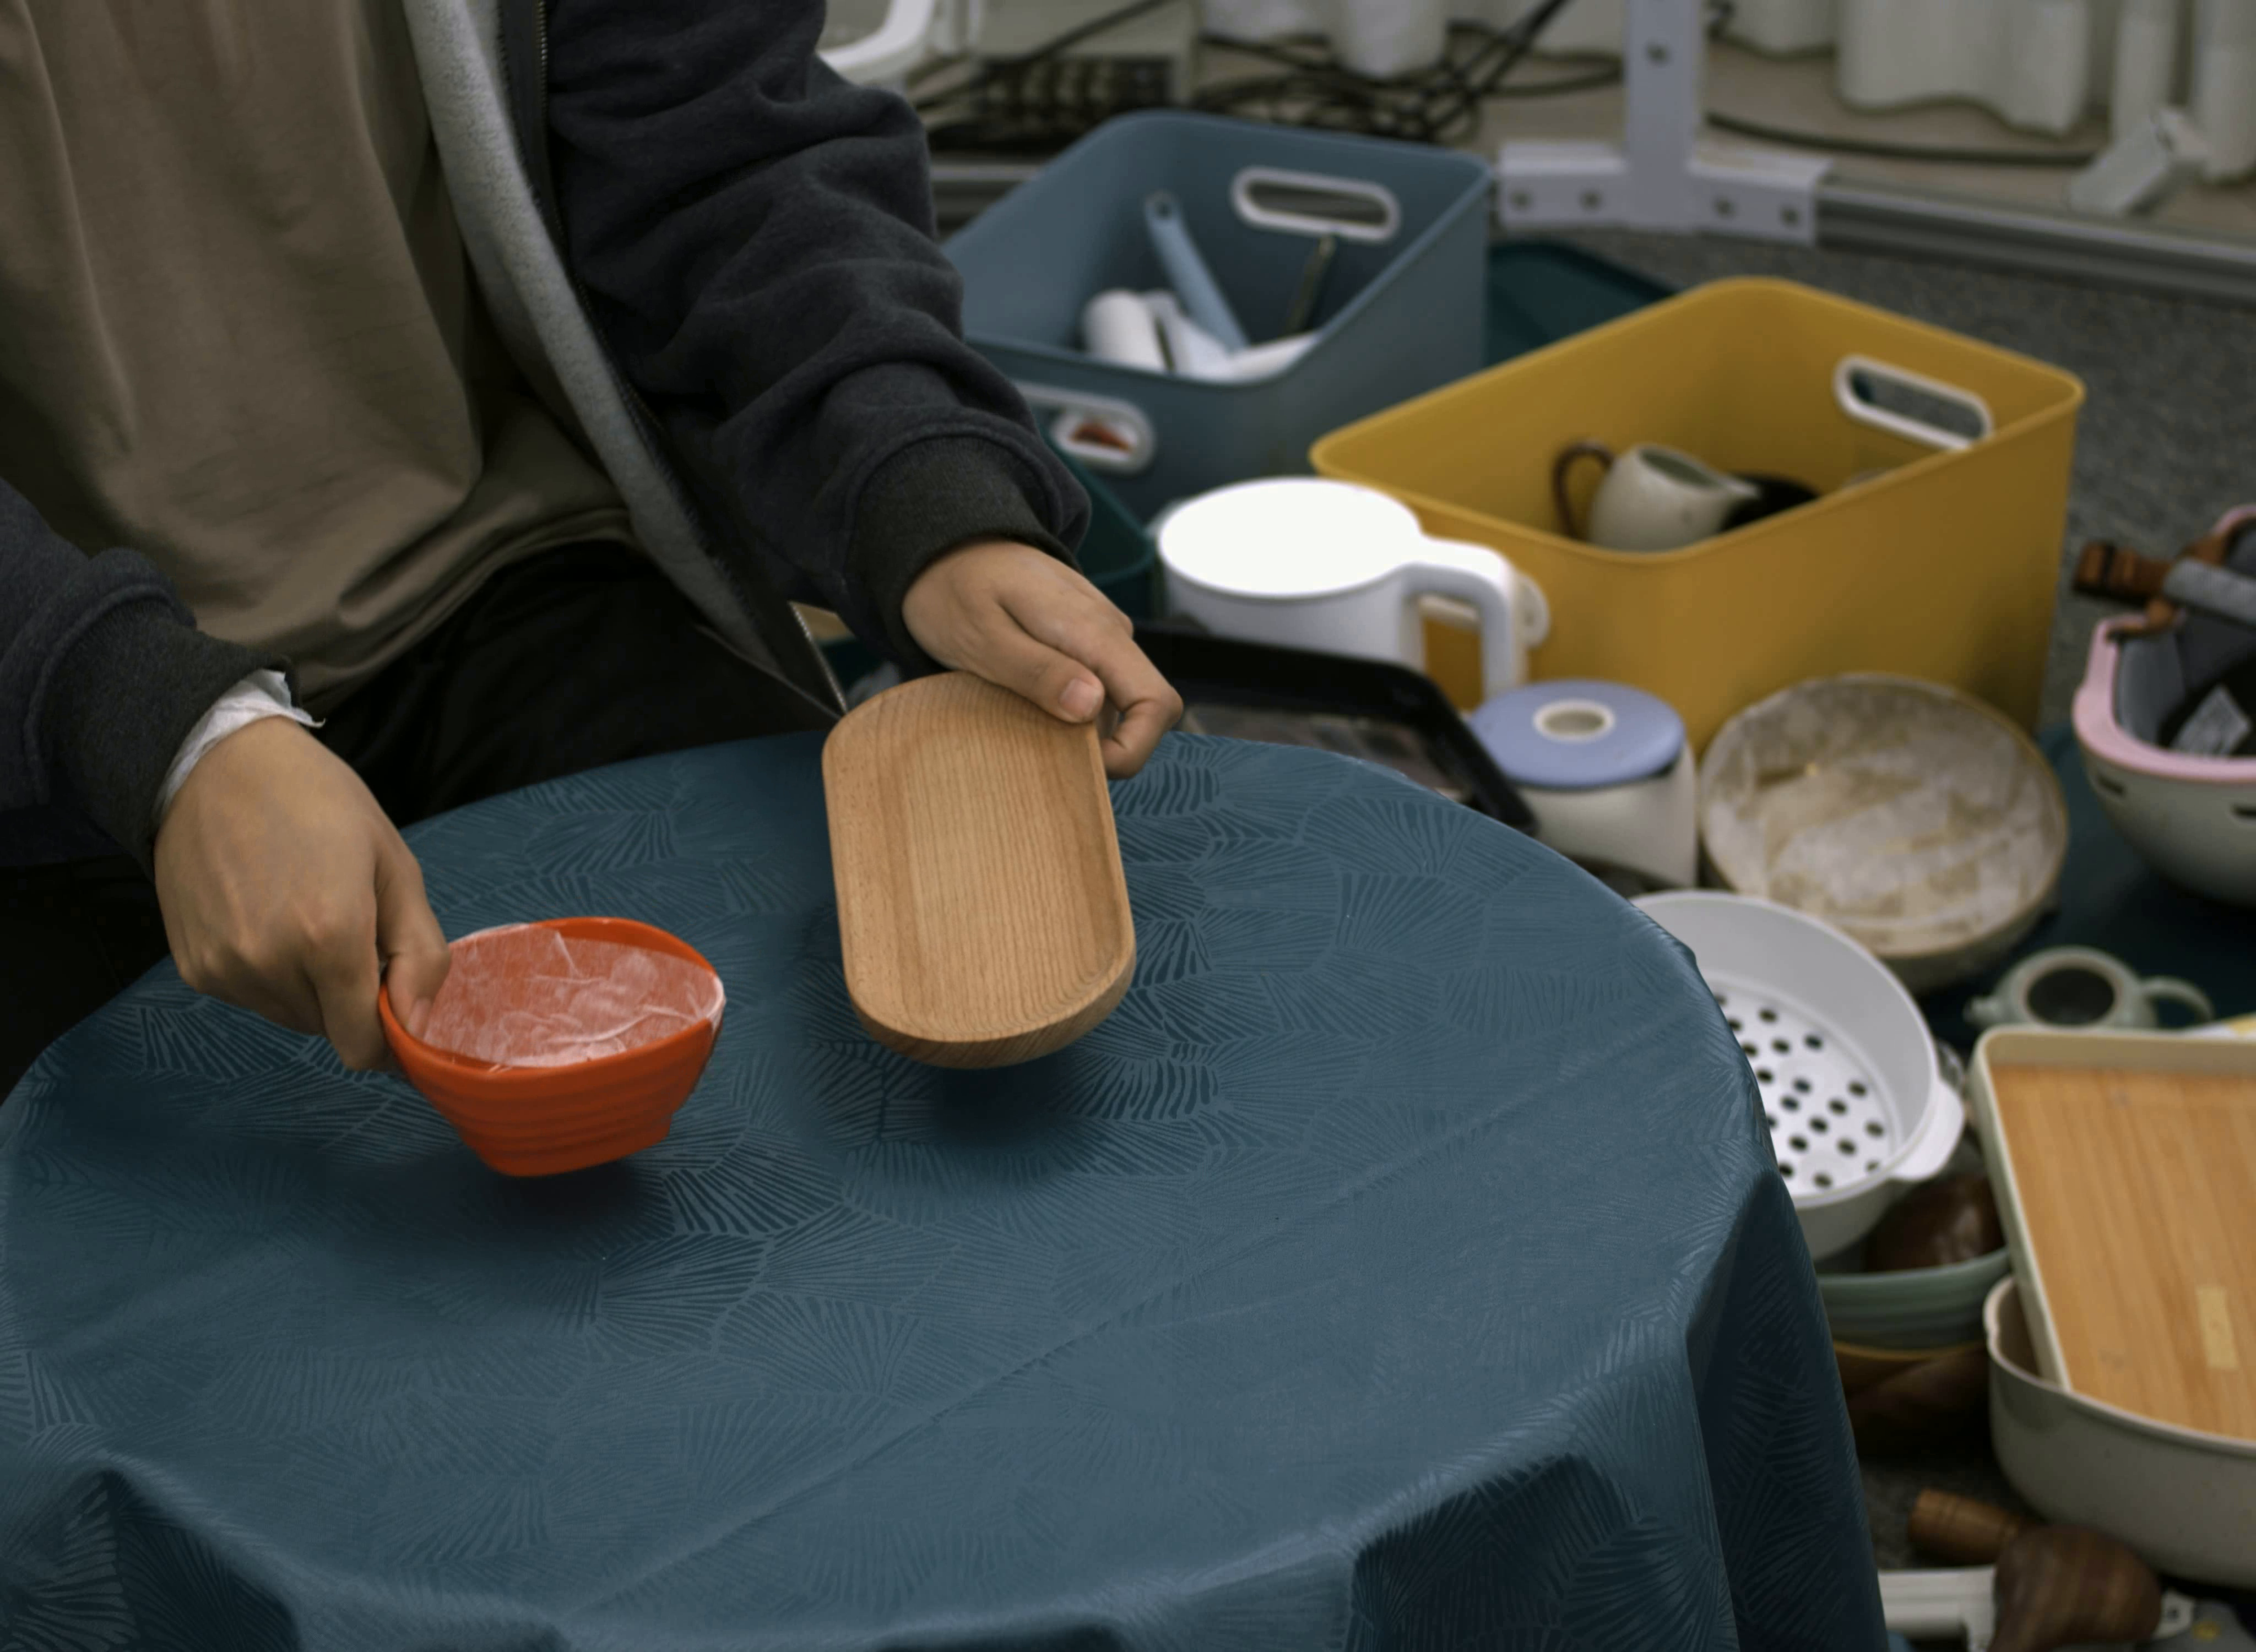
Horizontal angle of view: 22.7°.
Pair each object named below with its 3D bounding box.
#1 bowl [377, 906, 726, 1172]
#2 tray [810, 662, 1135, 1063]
[{"bbox_3d":[-0.190,0.075,1.868,0.118,0.051,0.120,-1,25,1],"label":"bowl"},{"bbox_3d":[-0.056,0.011,1.970,0.101,0.020,0.235,-9,33,-3],"label":"tray"}]
